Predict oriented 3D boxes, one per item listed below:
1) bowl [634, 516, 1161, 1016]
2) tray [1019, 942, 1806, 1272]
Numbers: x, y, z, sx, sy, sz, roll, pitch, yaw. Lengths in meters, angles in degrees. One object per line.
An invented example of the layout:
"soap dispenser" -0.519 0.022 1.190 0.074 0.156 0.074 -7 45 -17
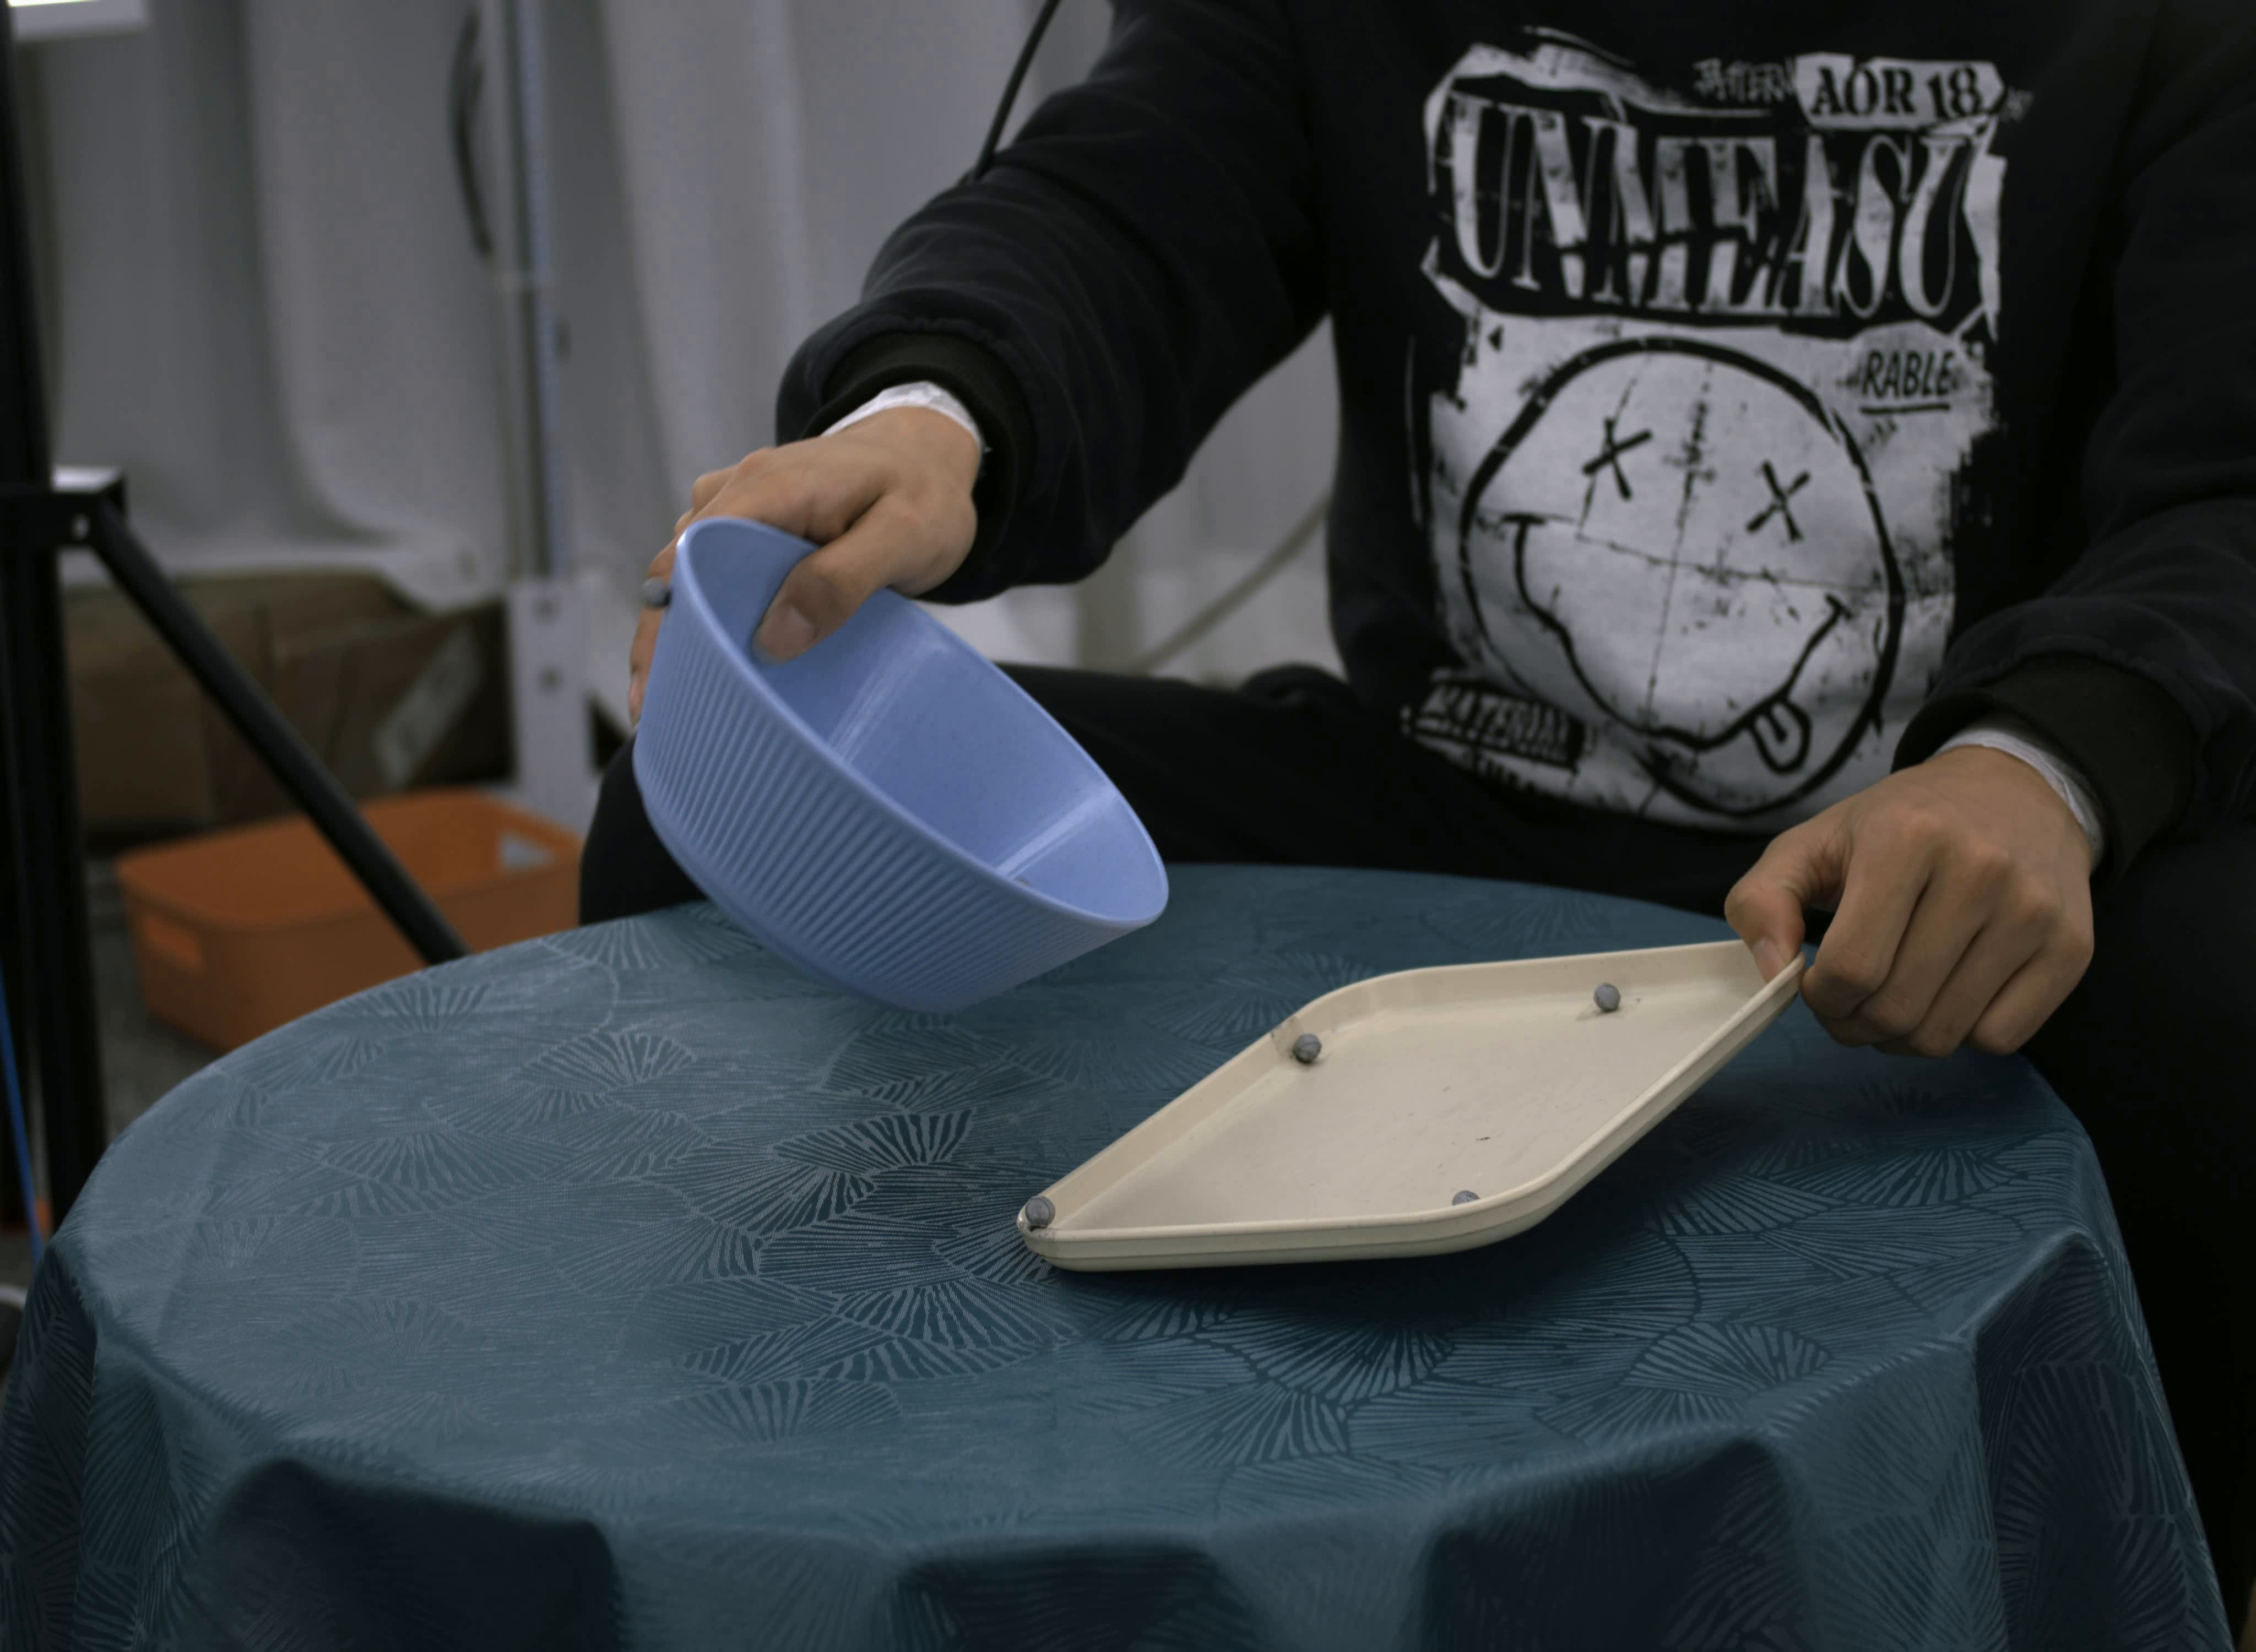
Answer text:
"bowl" -0.077 -0.007 1.541 0.174 0.071 0.177 34 18 -14
"tray" 0.087 0.082 1.544 0.174 0.017 0.236 -5 15 32
